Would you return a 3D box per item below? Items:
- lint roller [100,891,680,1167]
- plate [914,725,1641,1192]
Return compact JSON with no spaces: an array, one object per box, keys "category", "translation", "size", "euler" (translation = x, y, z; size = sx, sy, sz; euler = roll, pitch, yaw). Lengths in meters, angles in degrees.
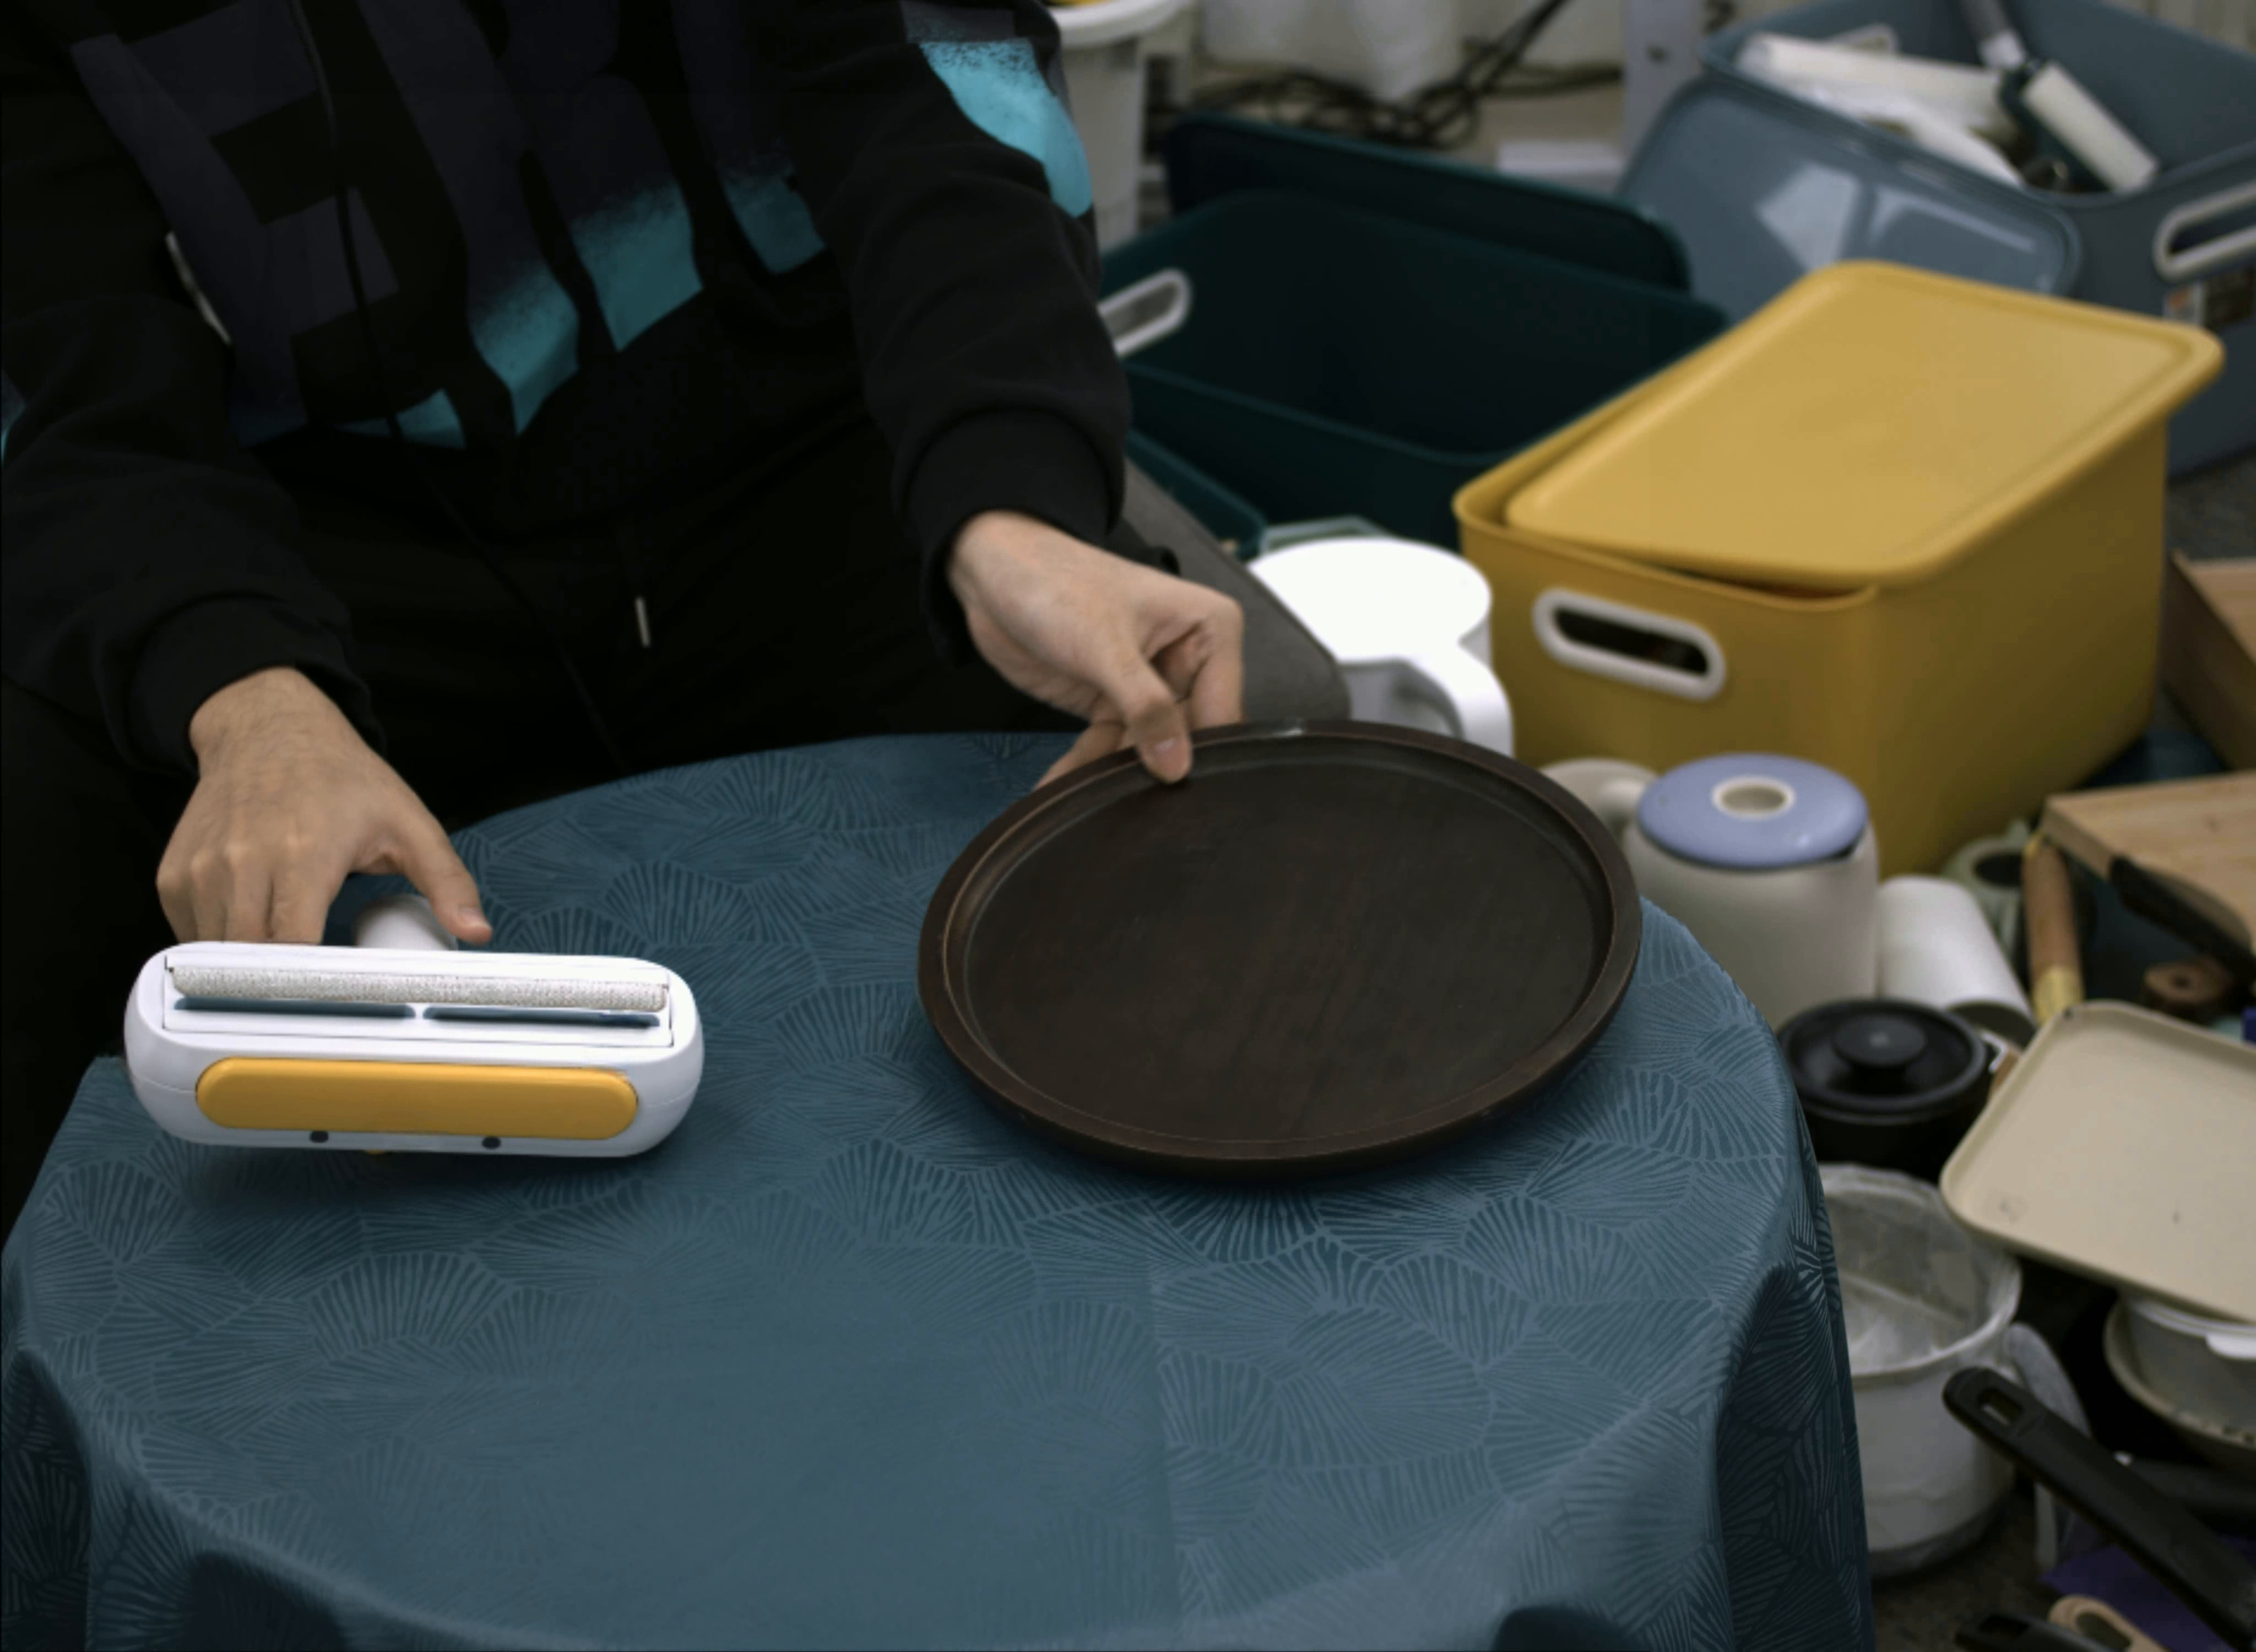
[{"category":"lint roller","translation":[-0.251,0.057,1.937],"size":[0.192,0.073,0.195],"euler":[0,25,-5]},{"category":"plate","translation":[0.052,0.045,1.949],"size":[0.253,0.028,0.259],"euler":[-4,33,3]}]
